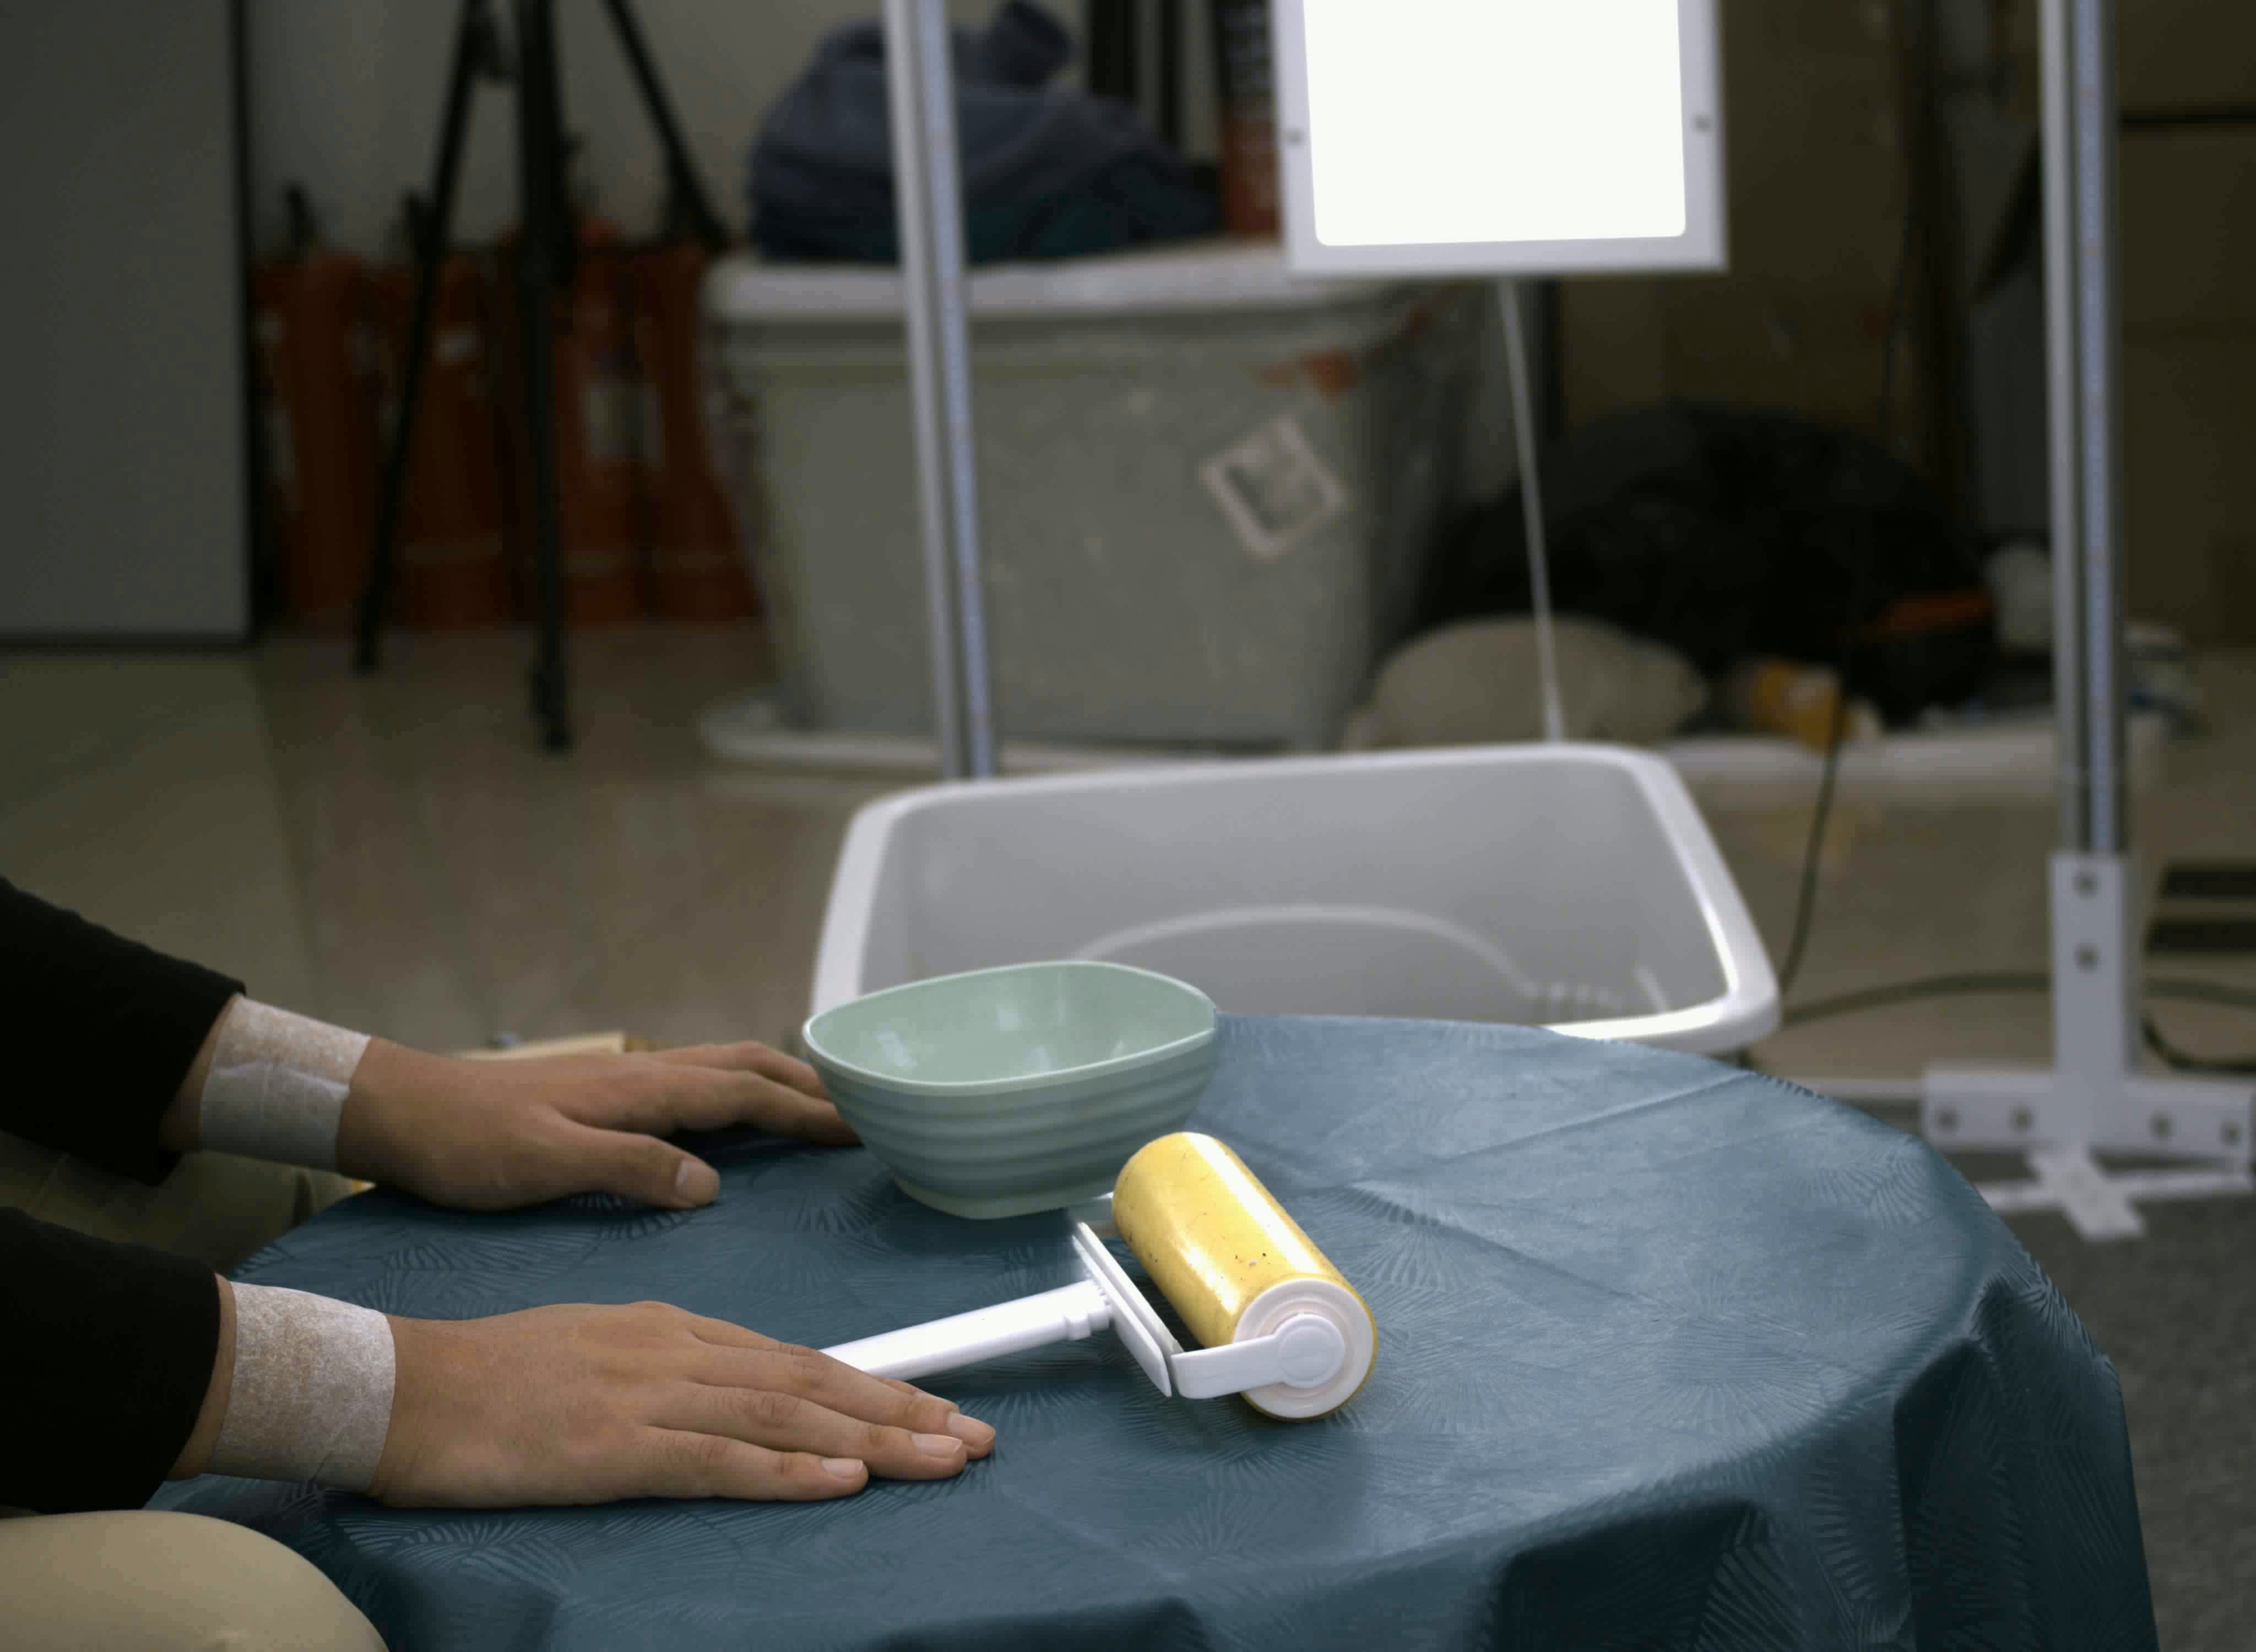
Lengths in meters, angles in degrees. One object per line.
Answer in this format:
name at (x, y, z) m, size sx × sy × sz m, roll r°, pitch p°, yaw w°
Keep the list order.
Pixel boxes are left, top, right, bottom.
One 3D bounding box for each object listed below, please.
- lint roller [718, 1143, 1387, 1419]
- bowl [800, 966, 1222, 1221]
lint roller at (-0.033, 0.147, 1.717) m, size 0.189 × 0.051 × 0.176 m, roll -3°, pitch 12°, yaw -13°
bowl at (-0.040, 0.096, 1.919) m, size 0.151 × 0.059 × 0.151 m, roll -3°, pitch 14°, yaw -1°
